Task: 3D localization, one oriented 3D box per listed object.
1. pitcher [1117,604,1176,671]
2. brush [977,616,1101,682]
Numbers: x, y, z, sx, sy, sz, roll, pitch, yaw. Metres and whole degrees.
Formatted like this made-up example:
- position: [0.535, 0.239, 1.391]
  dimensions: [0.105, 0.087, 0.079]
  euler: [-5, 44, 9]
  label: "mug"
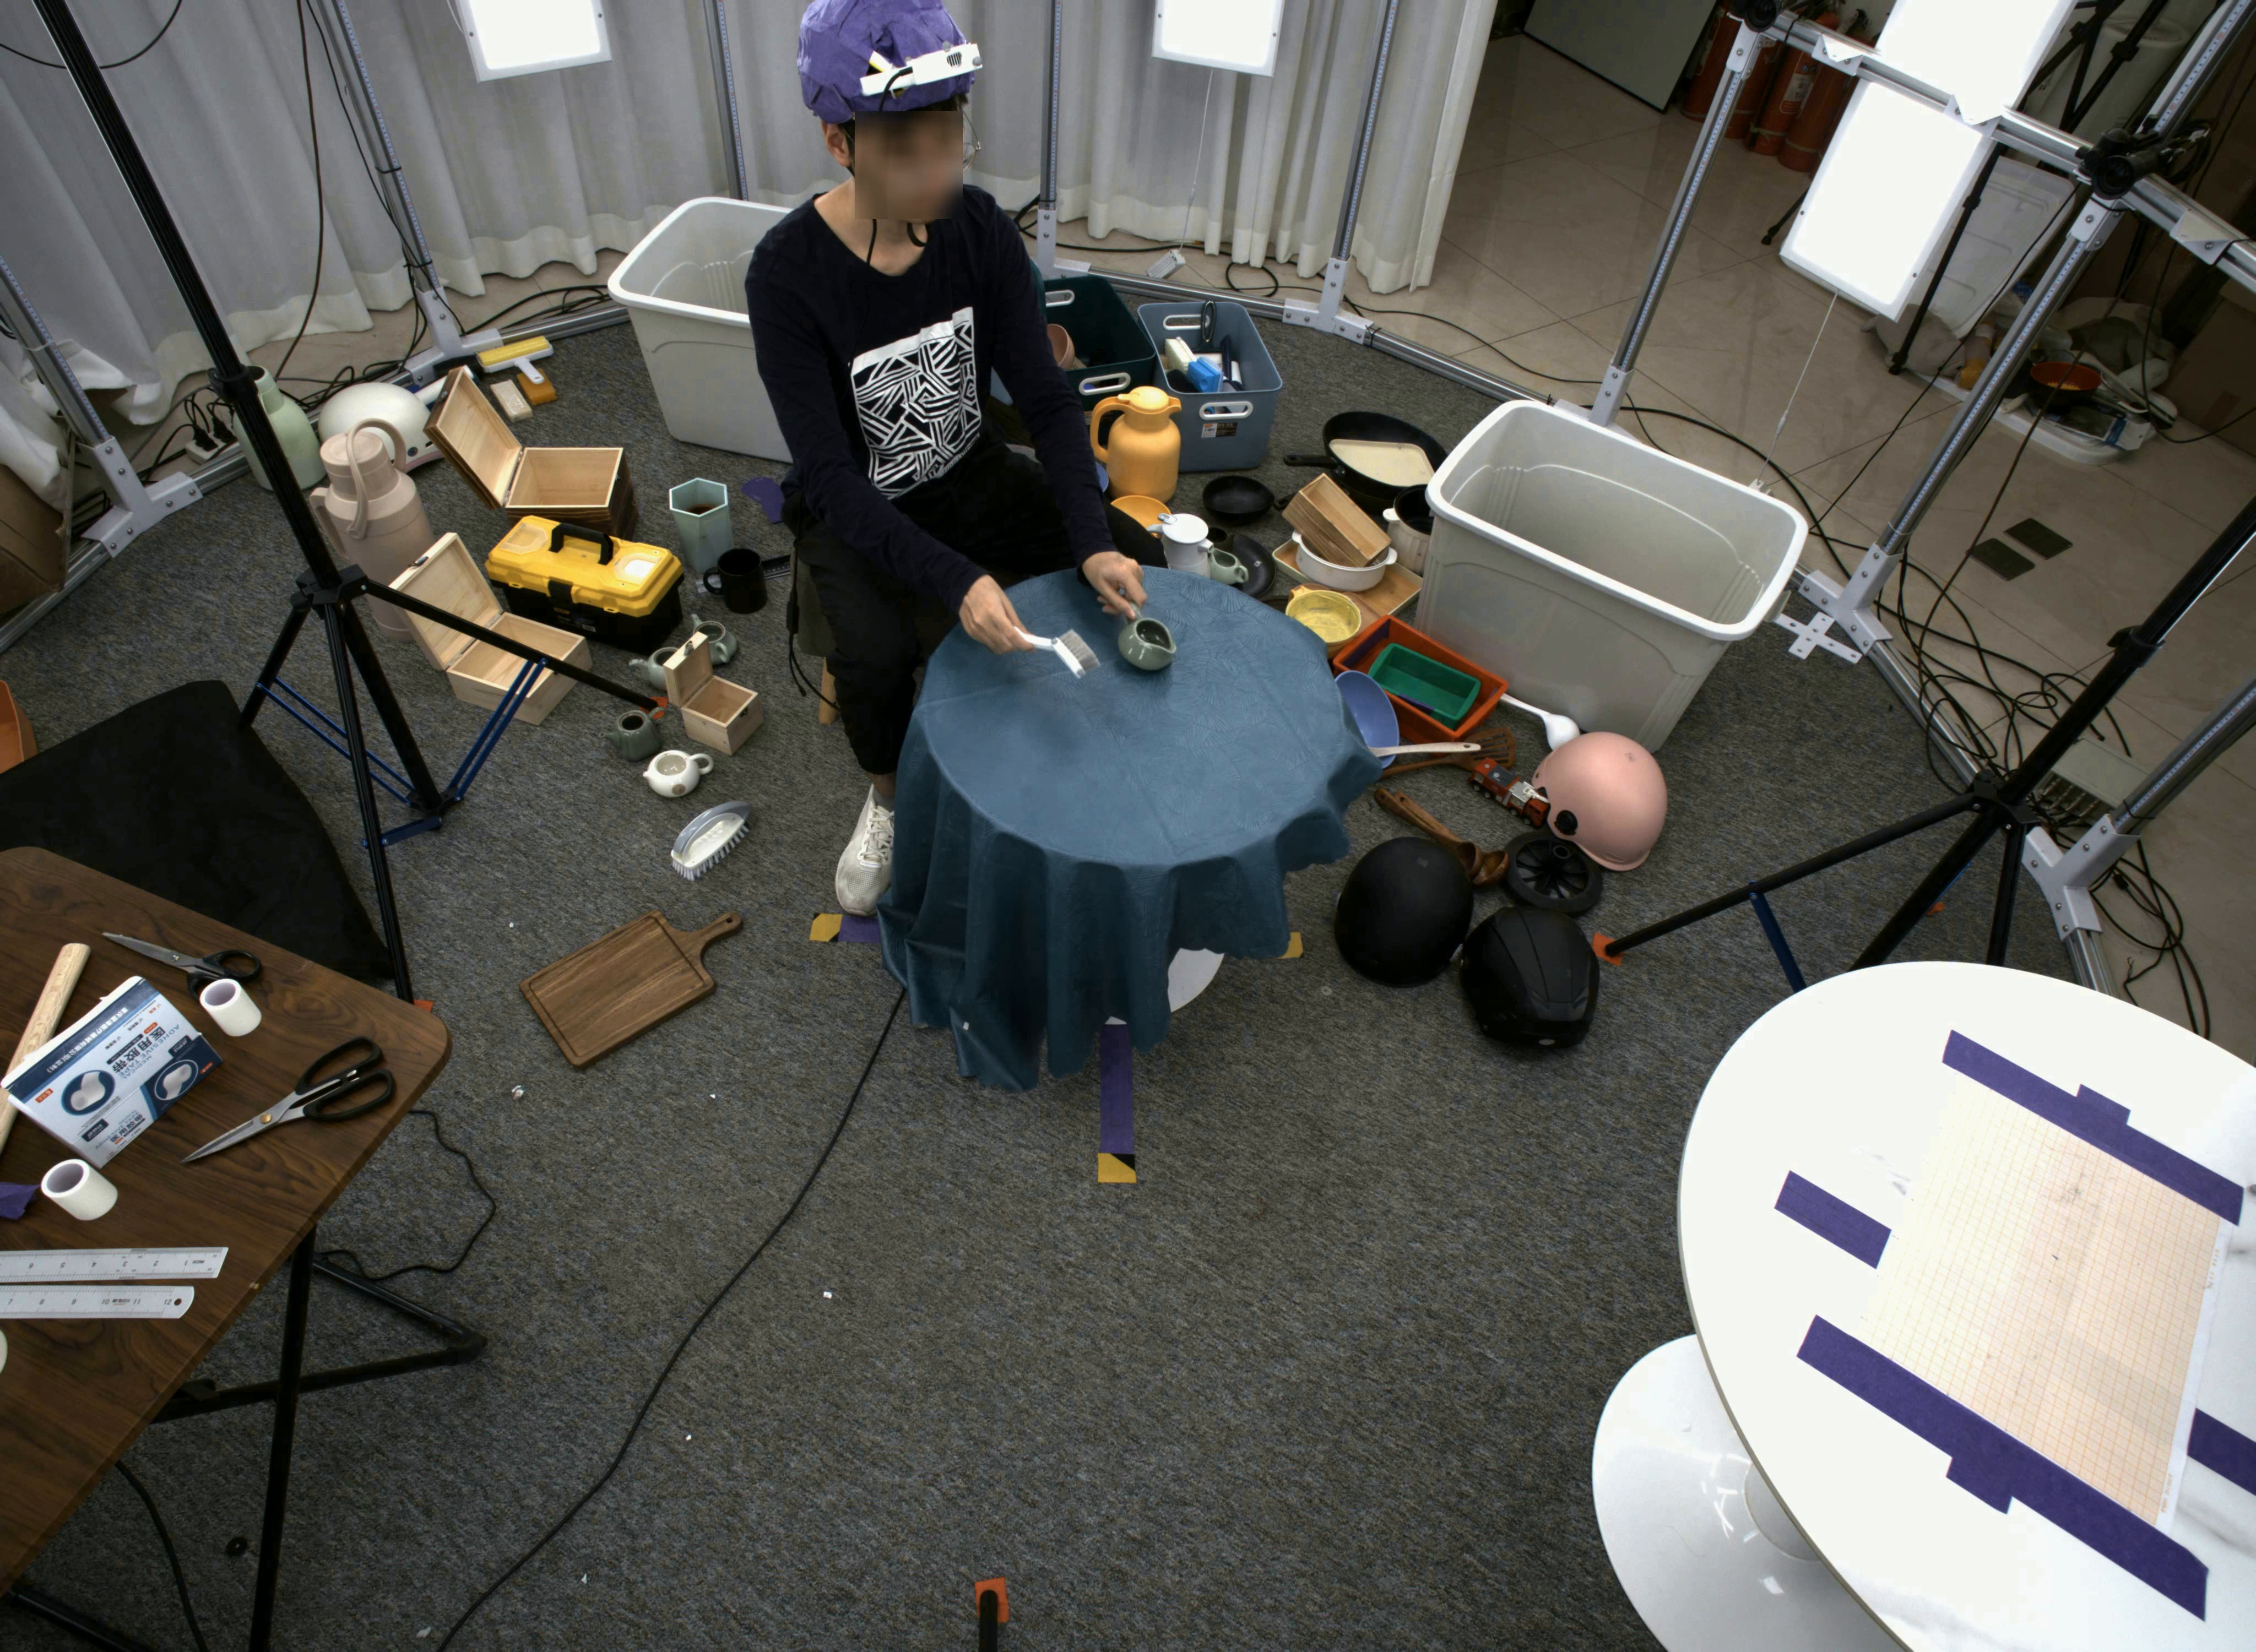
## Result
- position: [0.024, -0.271, 1.861]
  dimensions: [0.085, 0.055, 0.114]
  euler: [-27, 64, -35]
  label: "pitcher"
- position: [-0.126, -0.265, 1.798]
  dimensions: [0.248, 0.034, 0.050]
  euler: [33, 87, 40]
  label: "brush"
